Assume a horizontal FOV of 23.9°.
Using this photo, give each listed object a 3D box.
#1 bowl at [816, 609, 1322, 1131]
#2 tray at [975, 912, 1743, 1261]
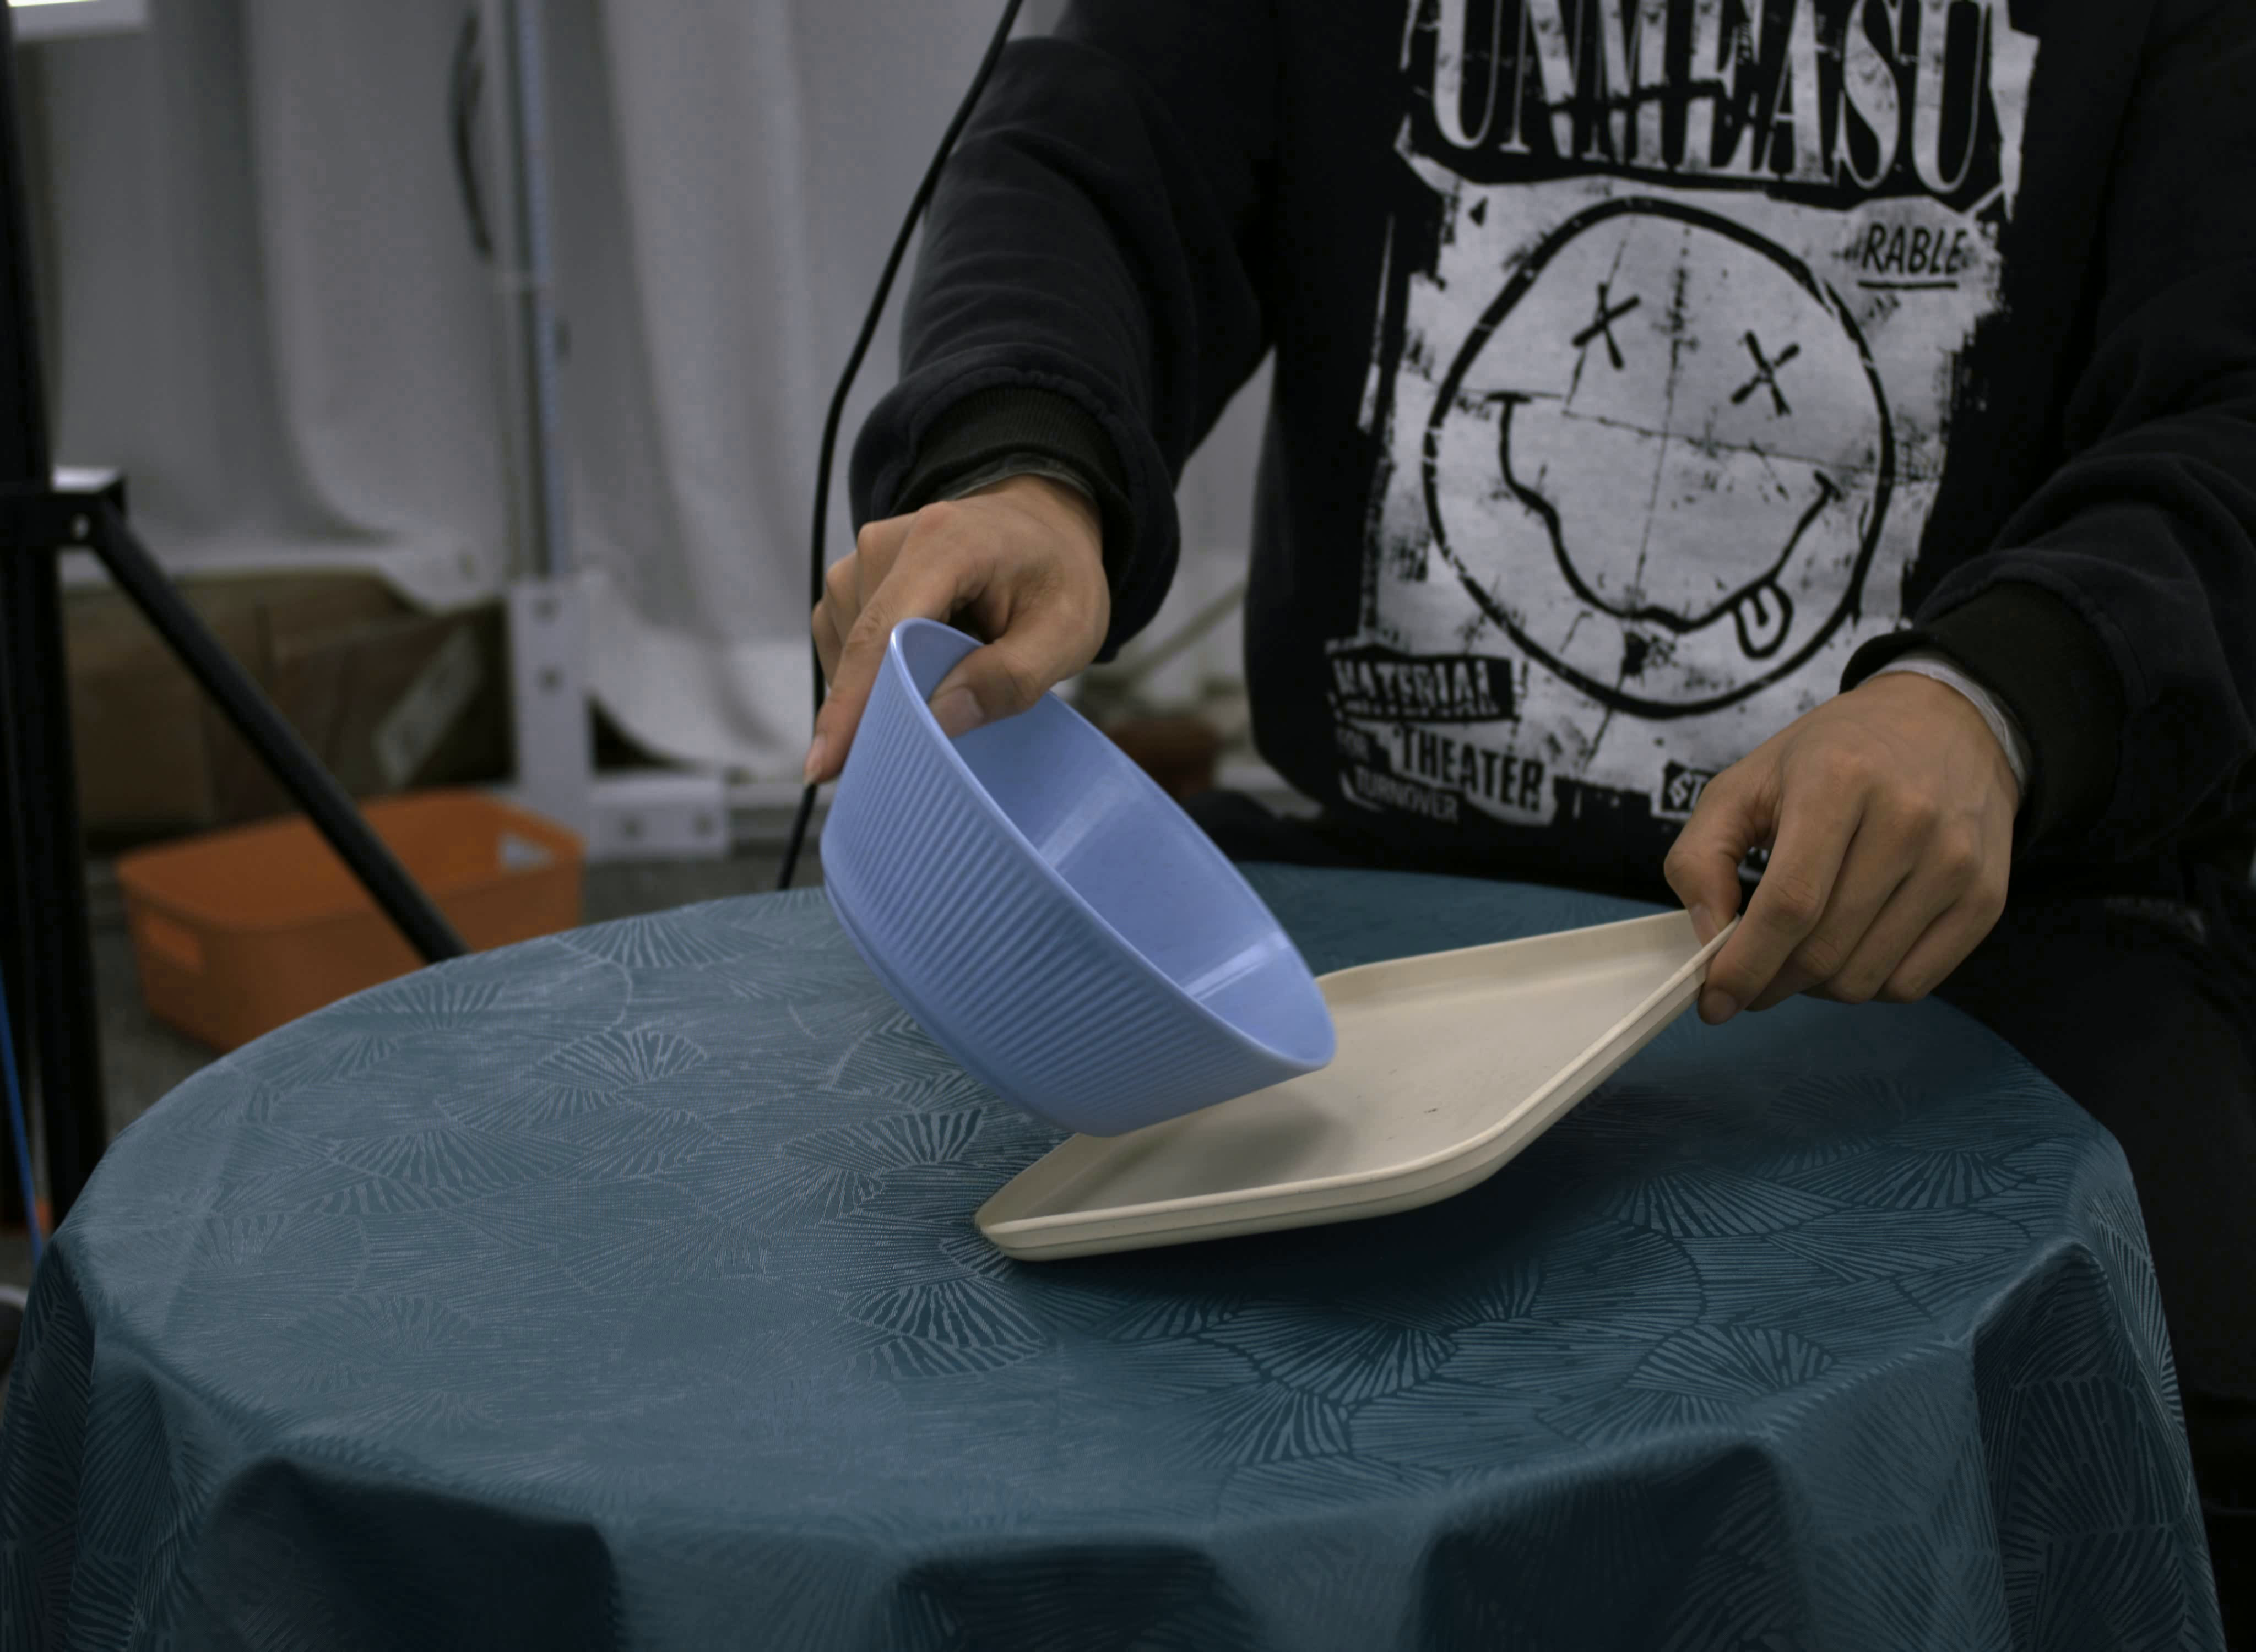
[{"bbox_3d":[-0.027,0.023,1.528,0.070,0.175,0.176,-43,10,12],"label":"bowl"},{"bbox_3d":[0.072,0.077,1.553,0.174,0.017,0.236,-10,12,31],"label":"tray"}]
